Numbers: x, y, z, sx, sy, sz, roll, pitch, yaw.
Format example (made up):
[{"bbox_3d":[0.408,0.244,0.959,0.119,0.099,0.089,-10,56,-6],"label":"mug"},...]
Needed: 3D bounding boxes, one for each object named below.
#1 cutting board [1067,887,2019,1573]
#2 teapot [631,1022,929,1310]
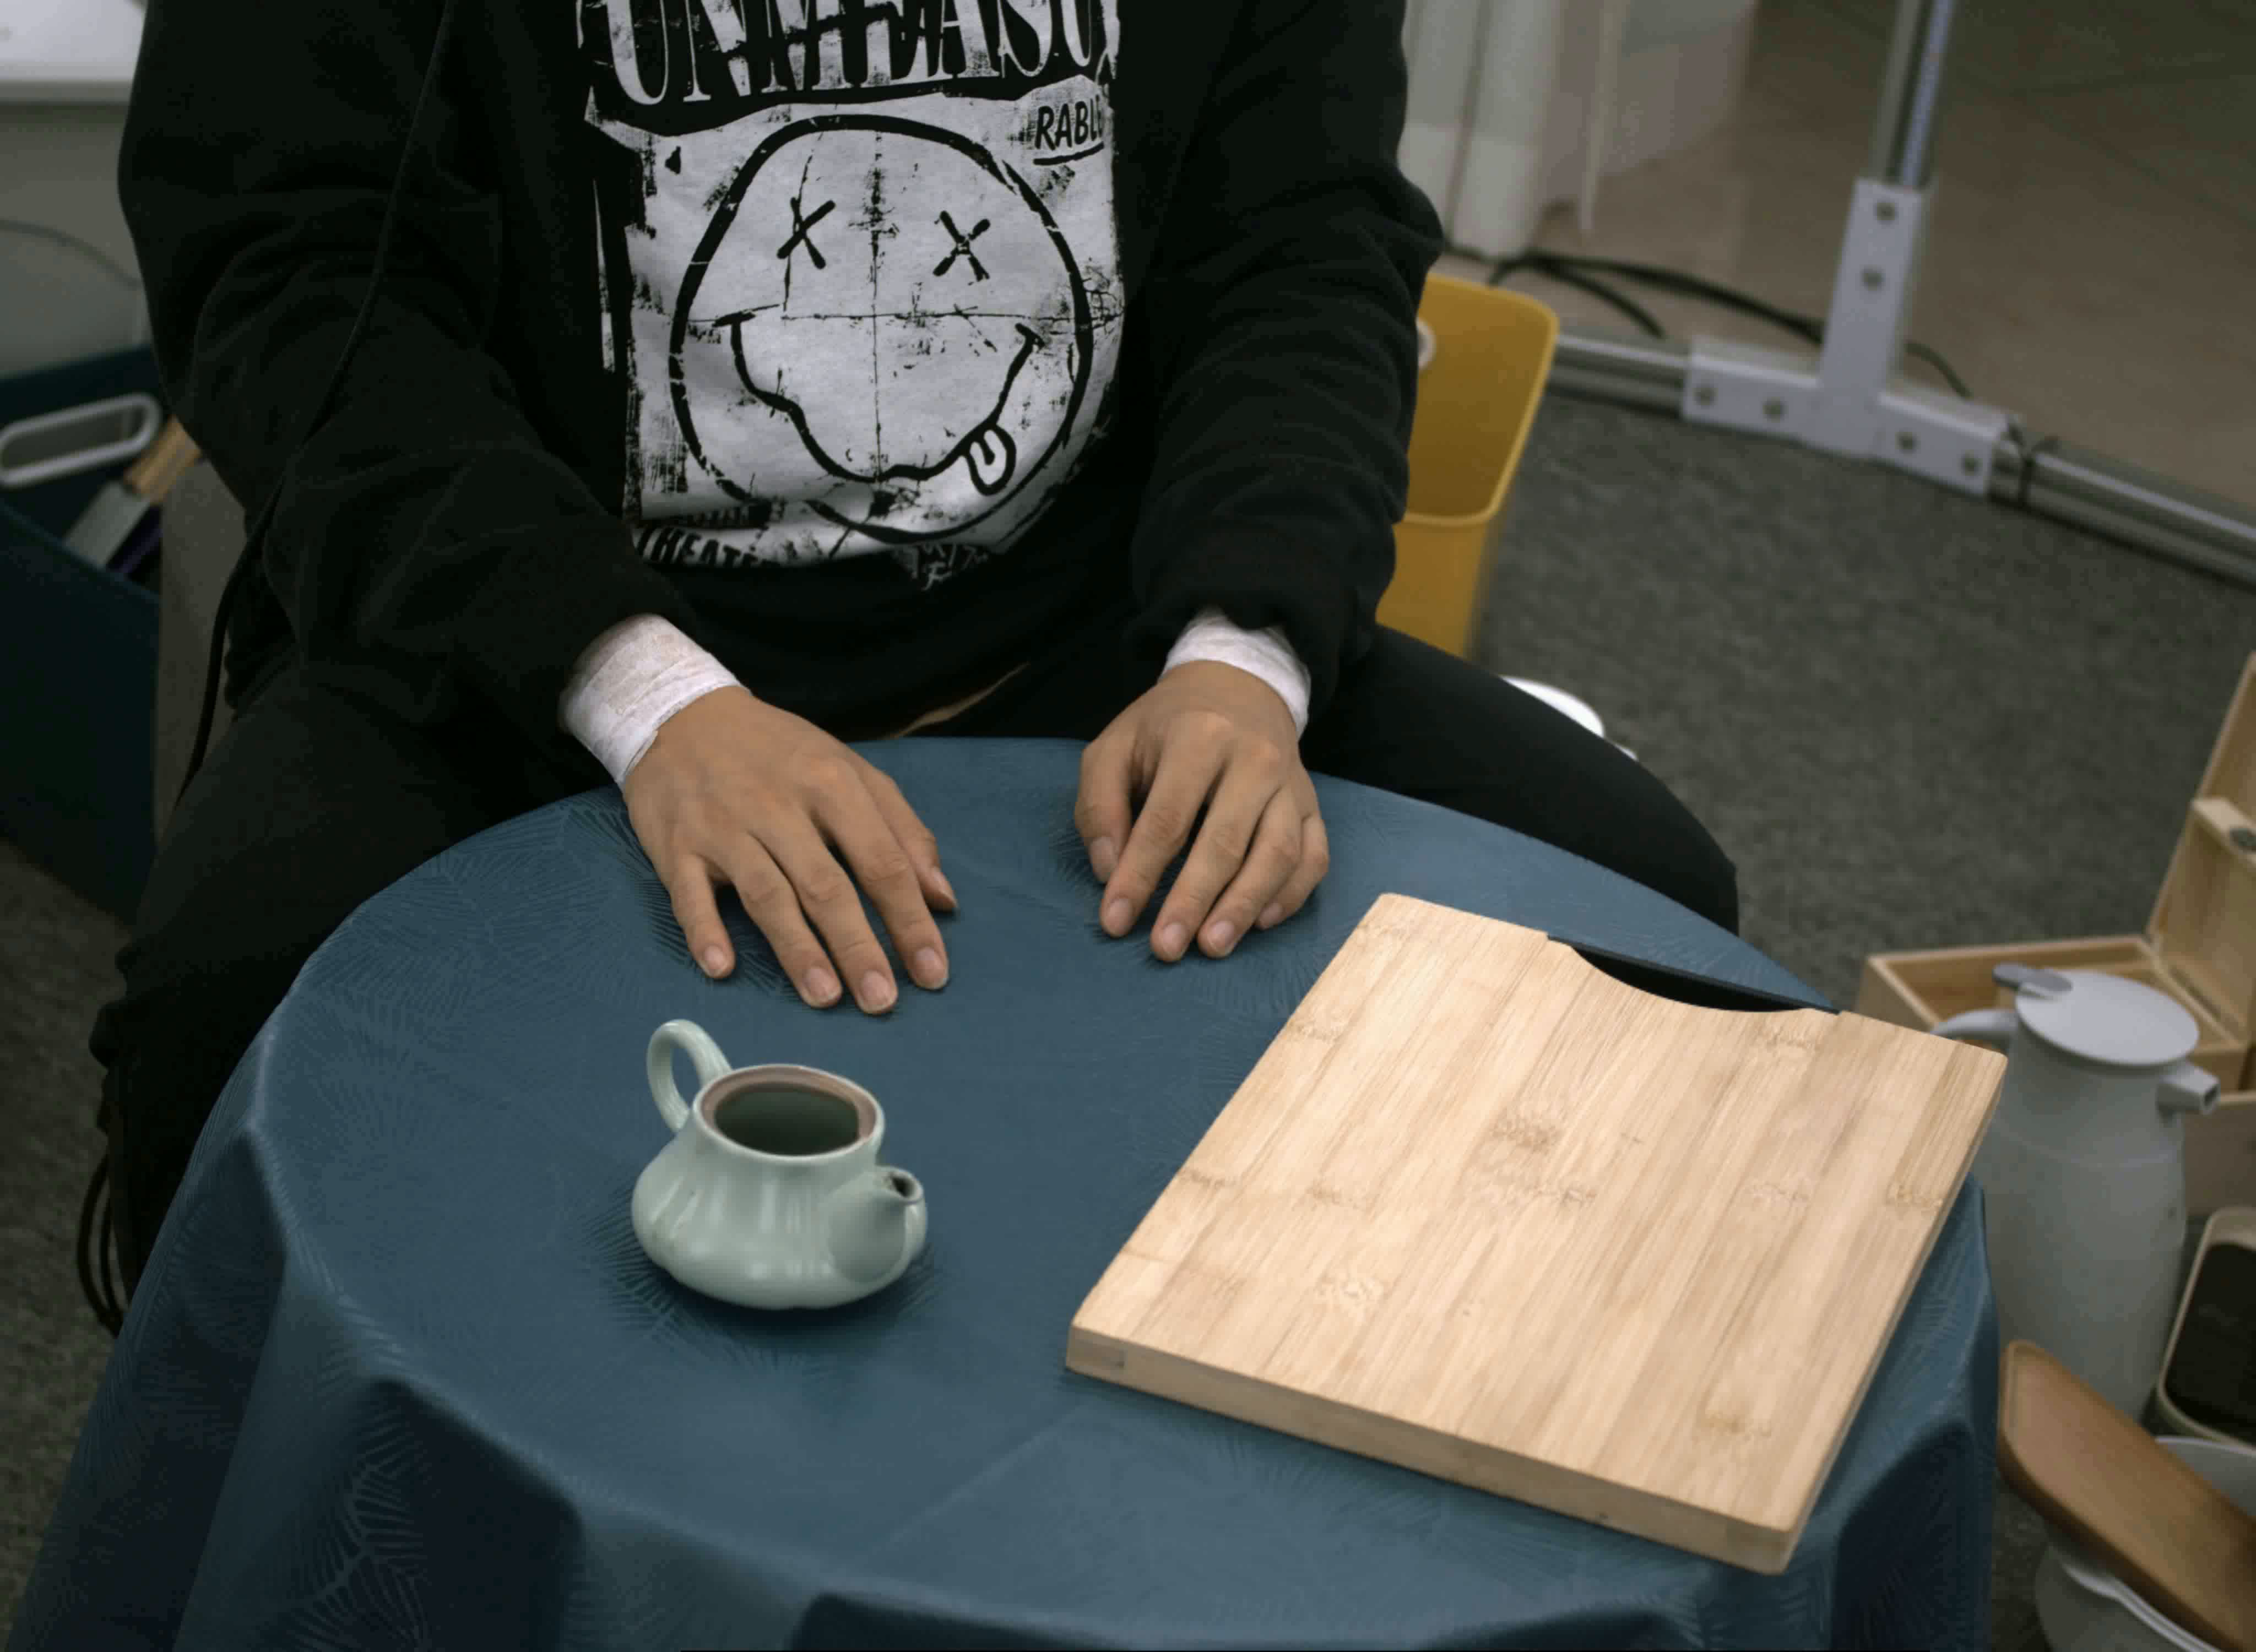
[{"bbox_3d":[0.150,0.127,1.815,0.251,0.023,0.349,14,28,14],"label":"cutting board"},{"bbox_3d":[-0.116,0.113,1.733,0.096,0.061,0.138,-20,37,-39],"label":"teapot"}]
